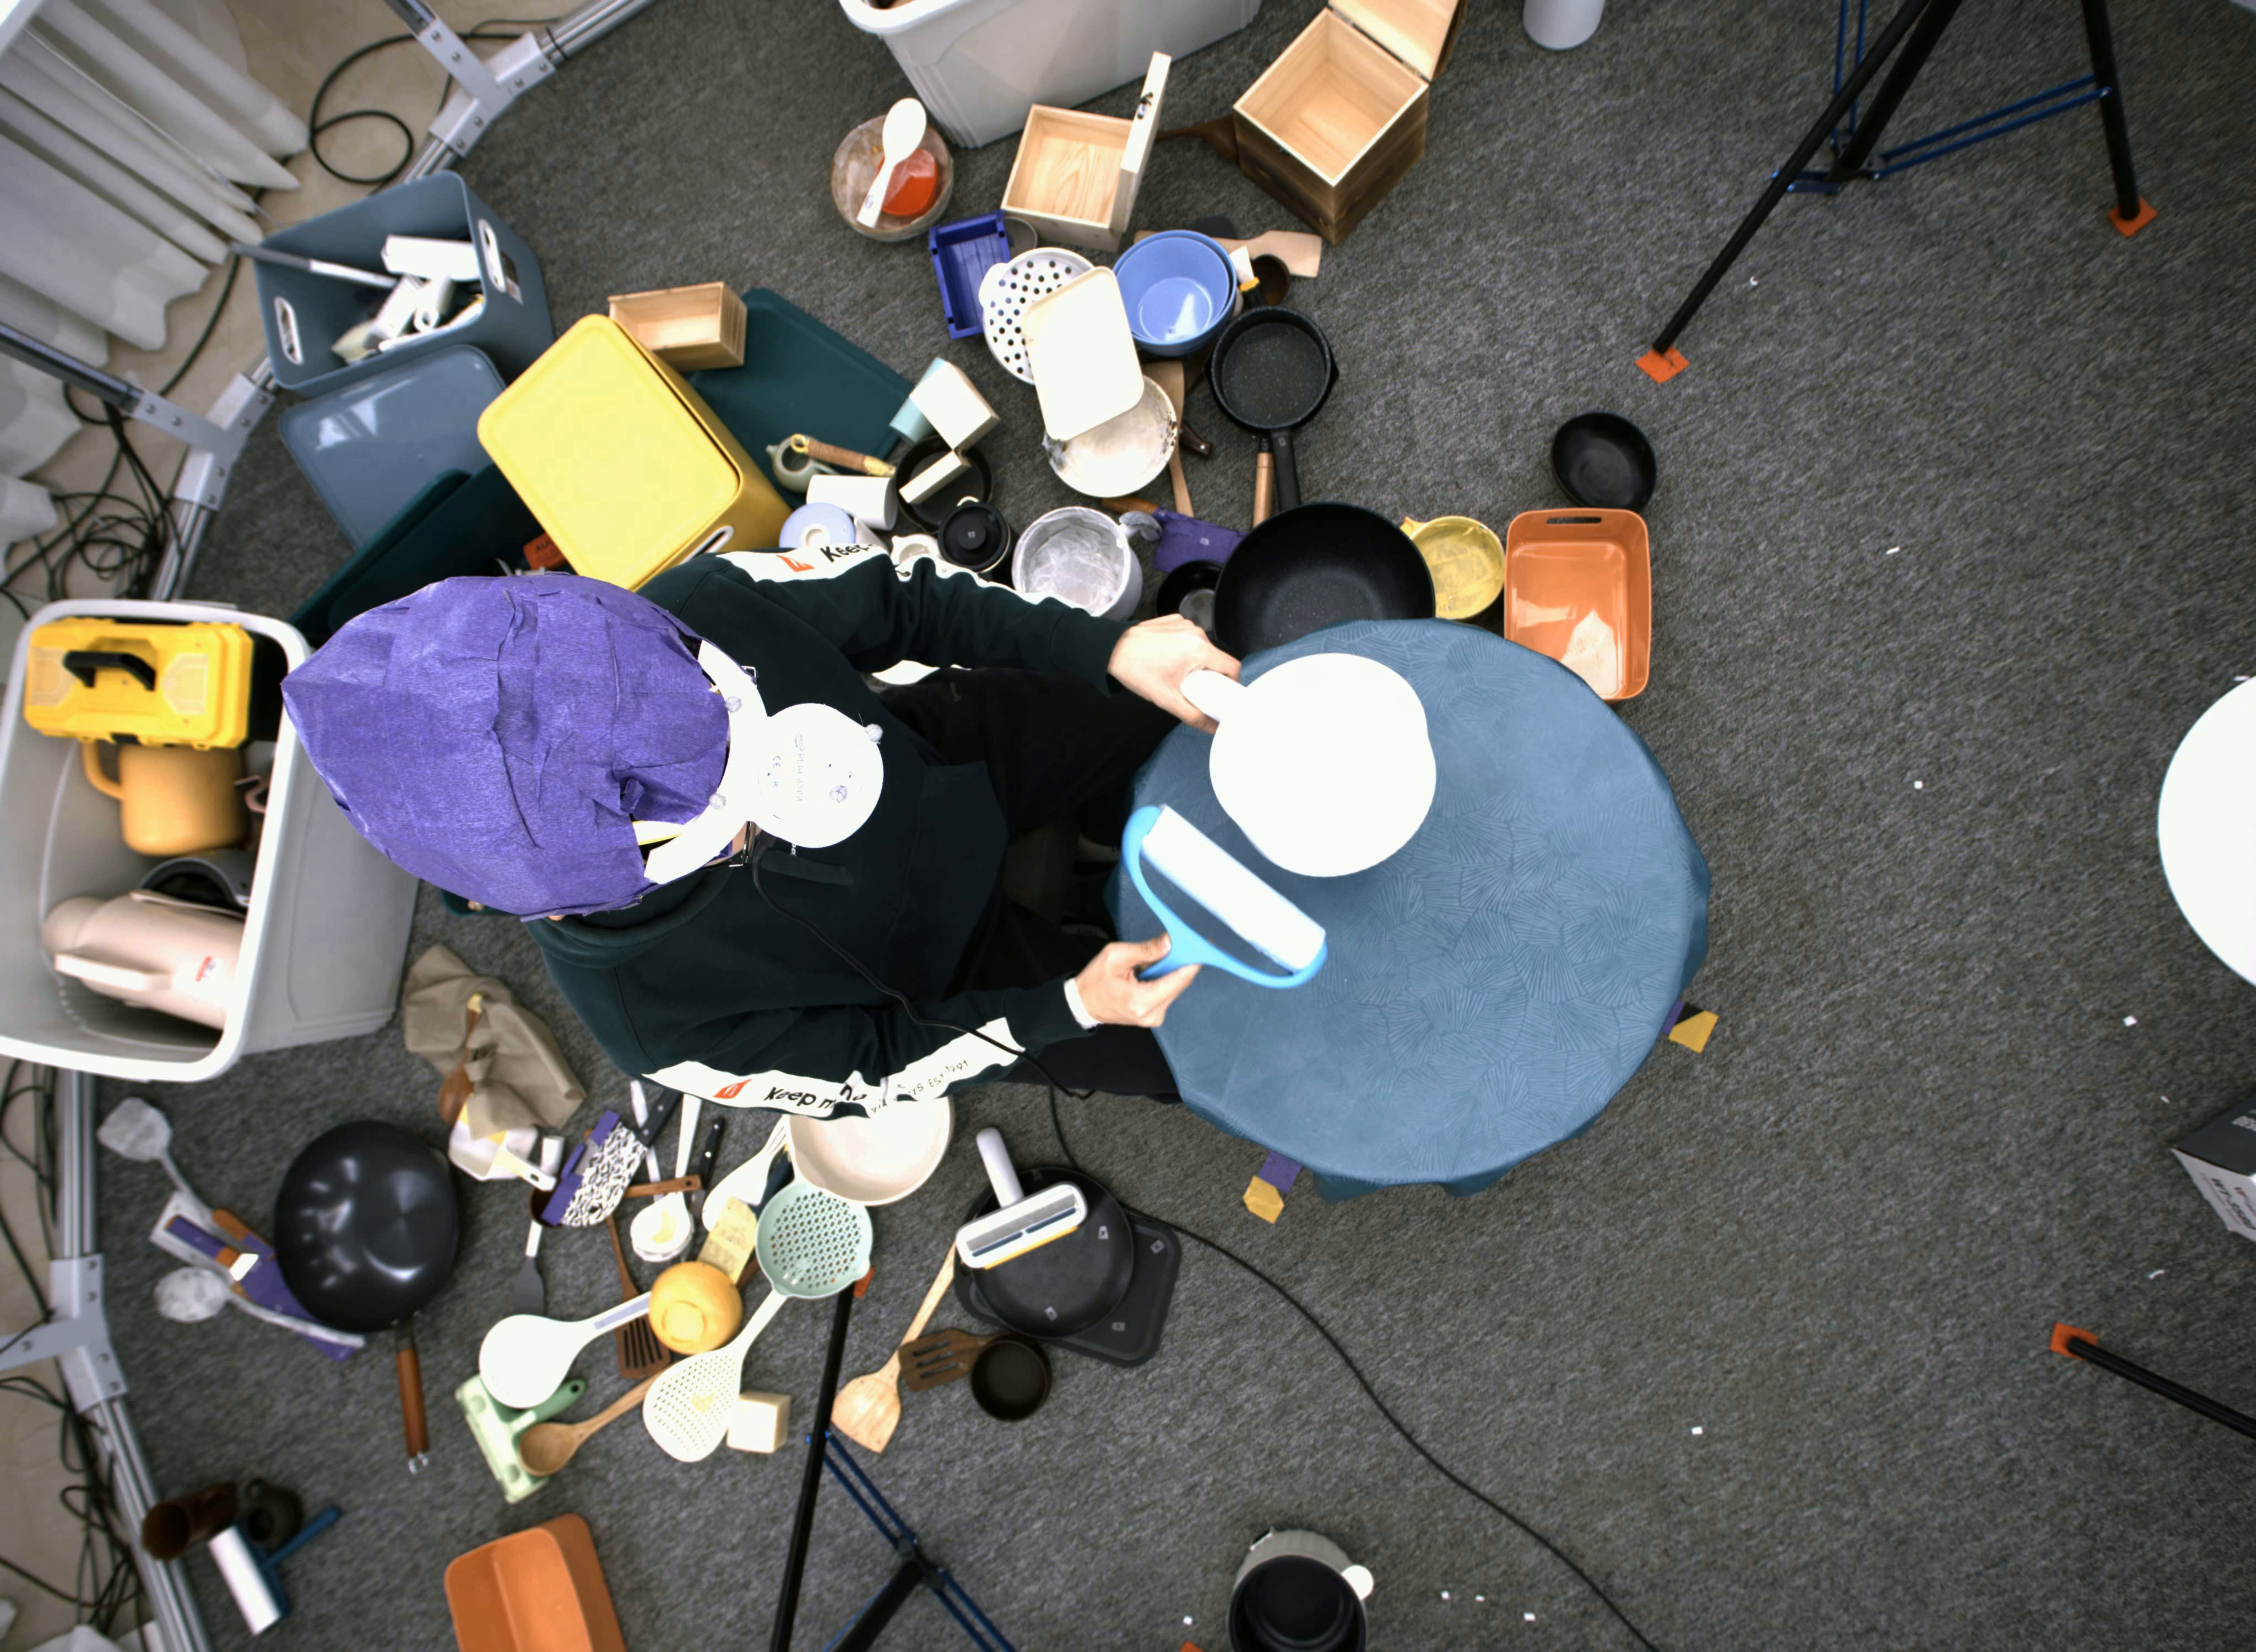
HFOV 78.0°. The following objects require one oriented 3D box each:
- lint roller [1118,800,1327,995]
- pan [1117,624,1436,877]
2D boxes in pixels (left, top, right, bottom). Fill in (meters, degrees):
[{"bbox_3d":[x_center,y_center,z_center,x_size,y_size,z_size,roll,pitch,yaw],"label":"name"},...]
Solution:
[{"bbox_3d":[0.056,0.100,1.292,0.230,0.067,0.182,34,106,-12],"label":"lint roller"},{"bbox_3d":[0.133,-0.088,1.323,0.352,0.103,0.200,35,82,35],"label":"pan"}]
